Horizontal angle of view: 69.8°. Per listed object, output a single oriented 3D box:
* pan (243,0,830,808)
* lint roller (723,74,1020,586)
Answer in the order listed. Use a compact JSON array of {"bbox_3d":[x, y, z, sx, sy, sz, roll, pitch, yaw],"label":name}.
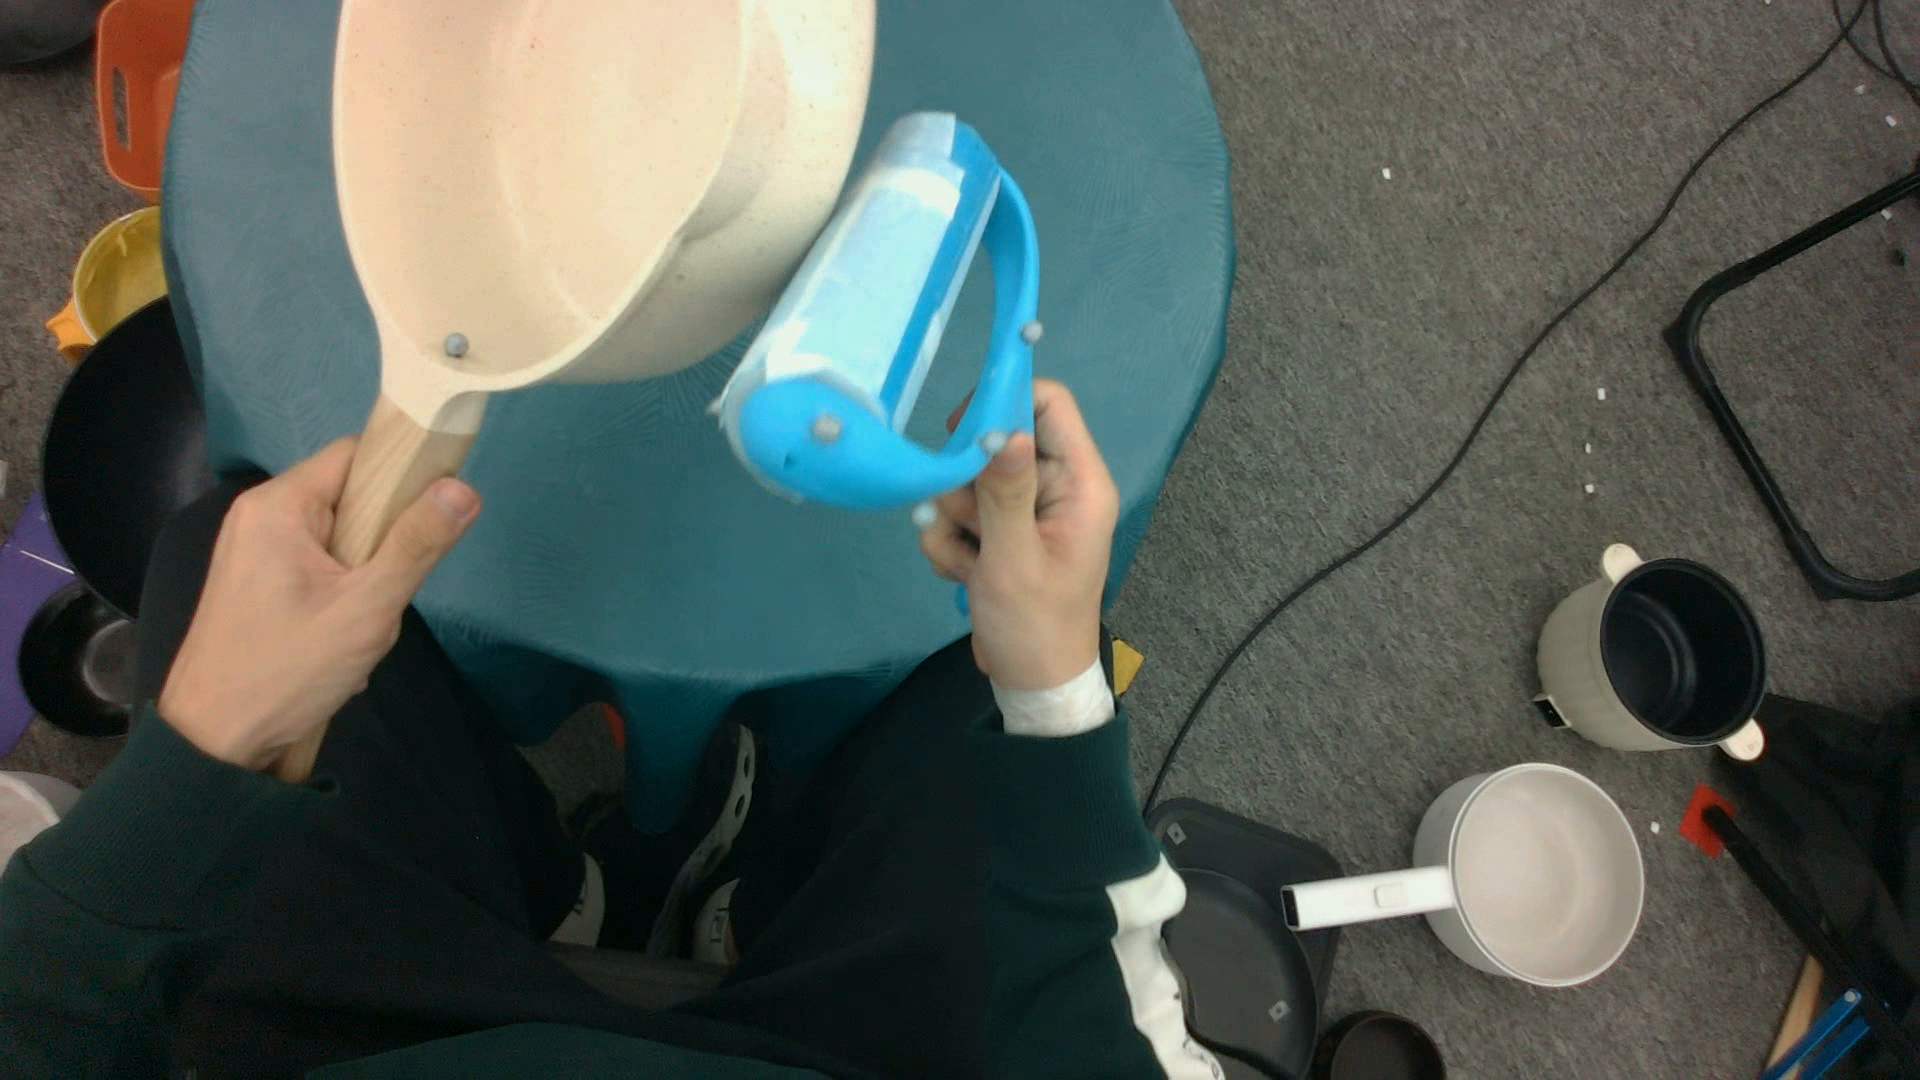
[{"bbox_3d":[-0.184,-0.096,0.532,0.263,0.102,0.433,30,108,34],"label":"pan"},{"bbox_3d":[-0.008,-0.062,0.515,0.068,0.180,0.230,-16,34,18],"label":"lint roller"}]
